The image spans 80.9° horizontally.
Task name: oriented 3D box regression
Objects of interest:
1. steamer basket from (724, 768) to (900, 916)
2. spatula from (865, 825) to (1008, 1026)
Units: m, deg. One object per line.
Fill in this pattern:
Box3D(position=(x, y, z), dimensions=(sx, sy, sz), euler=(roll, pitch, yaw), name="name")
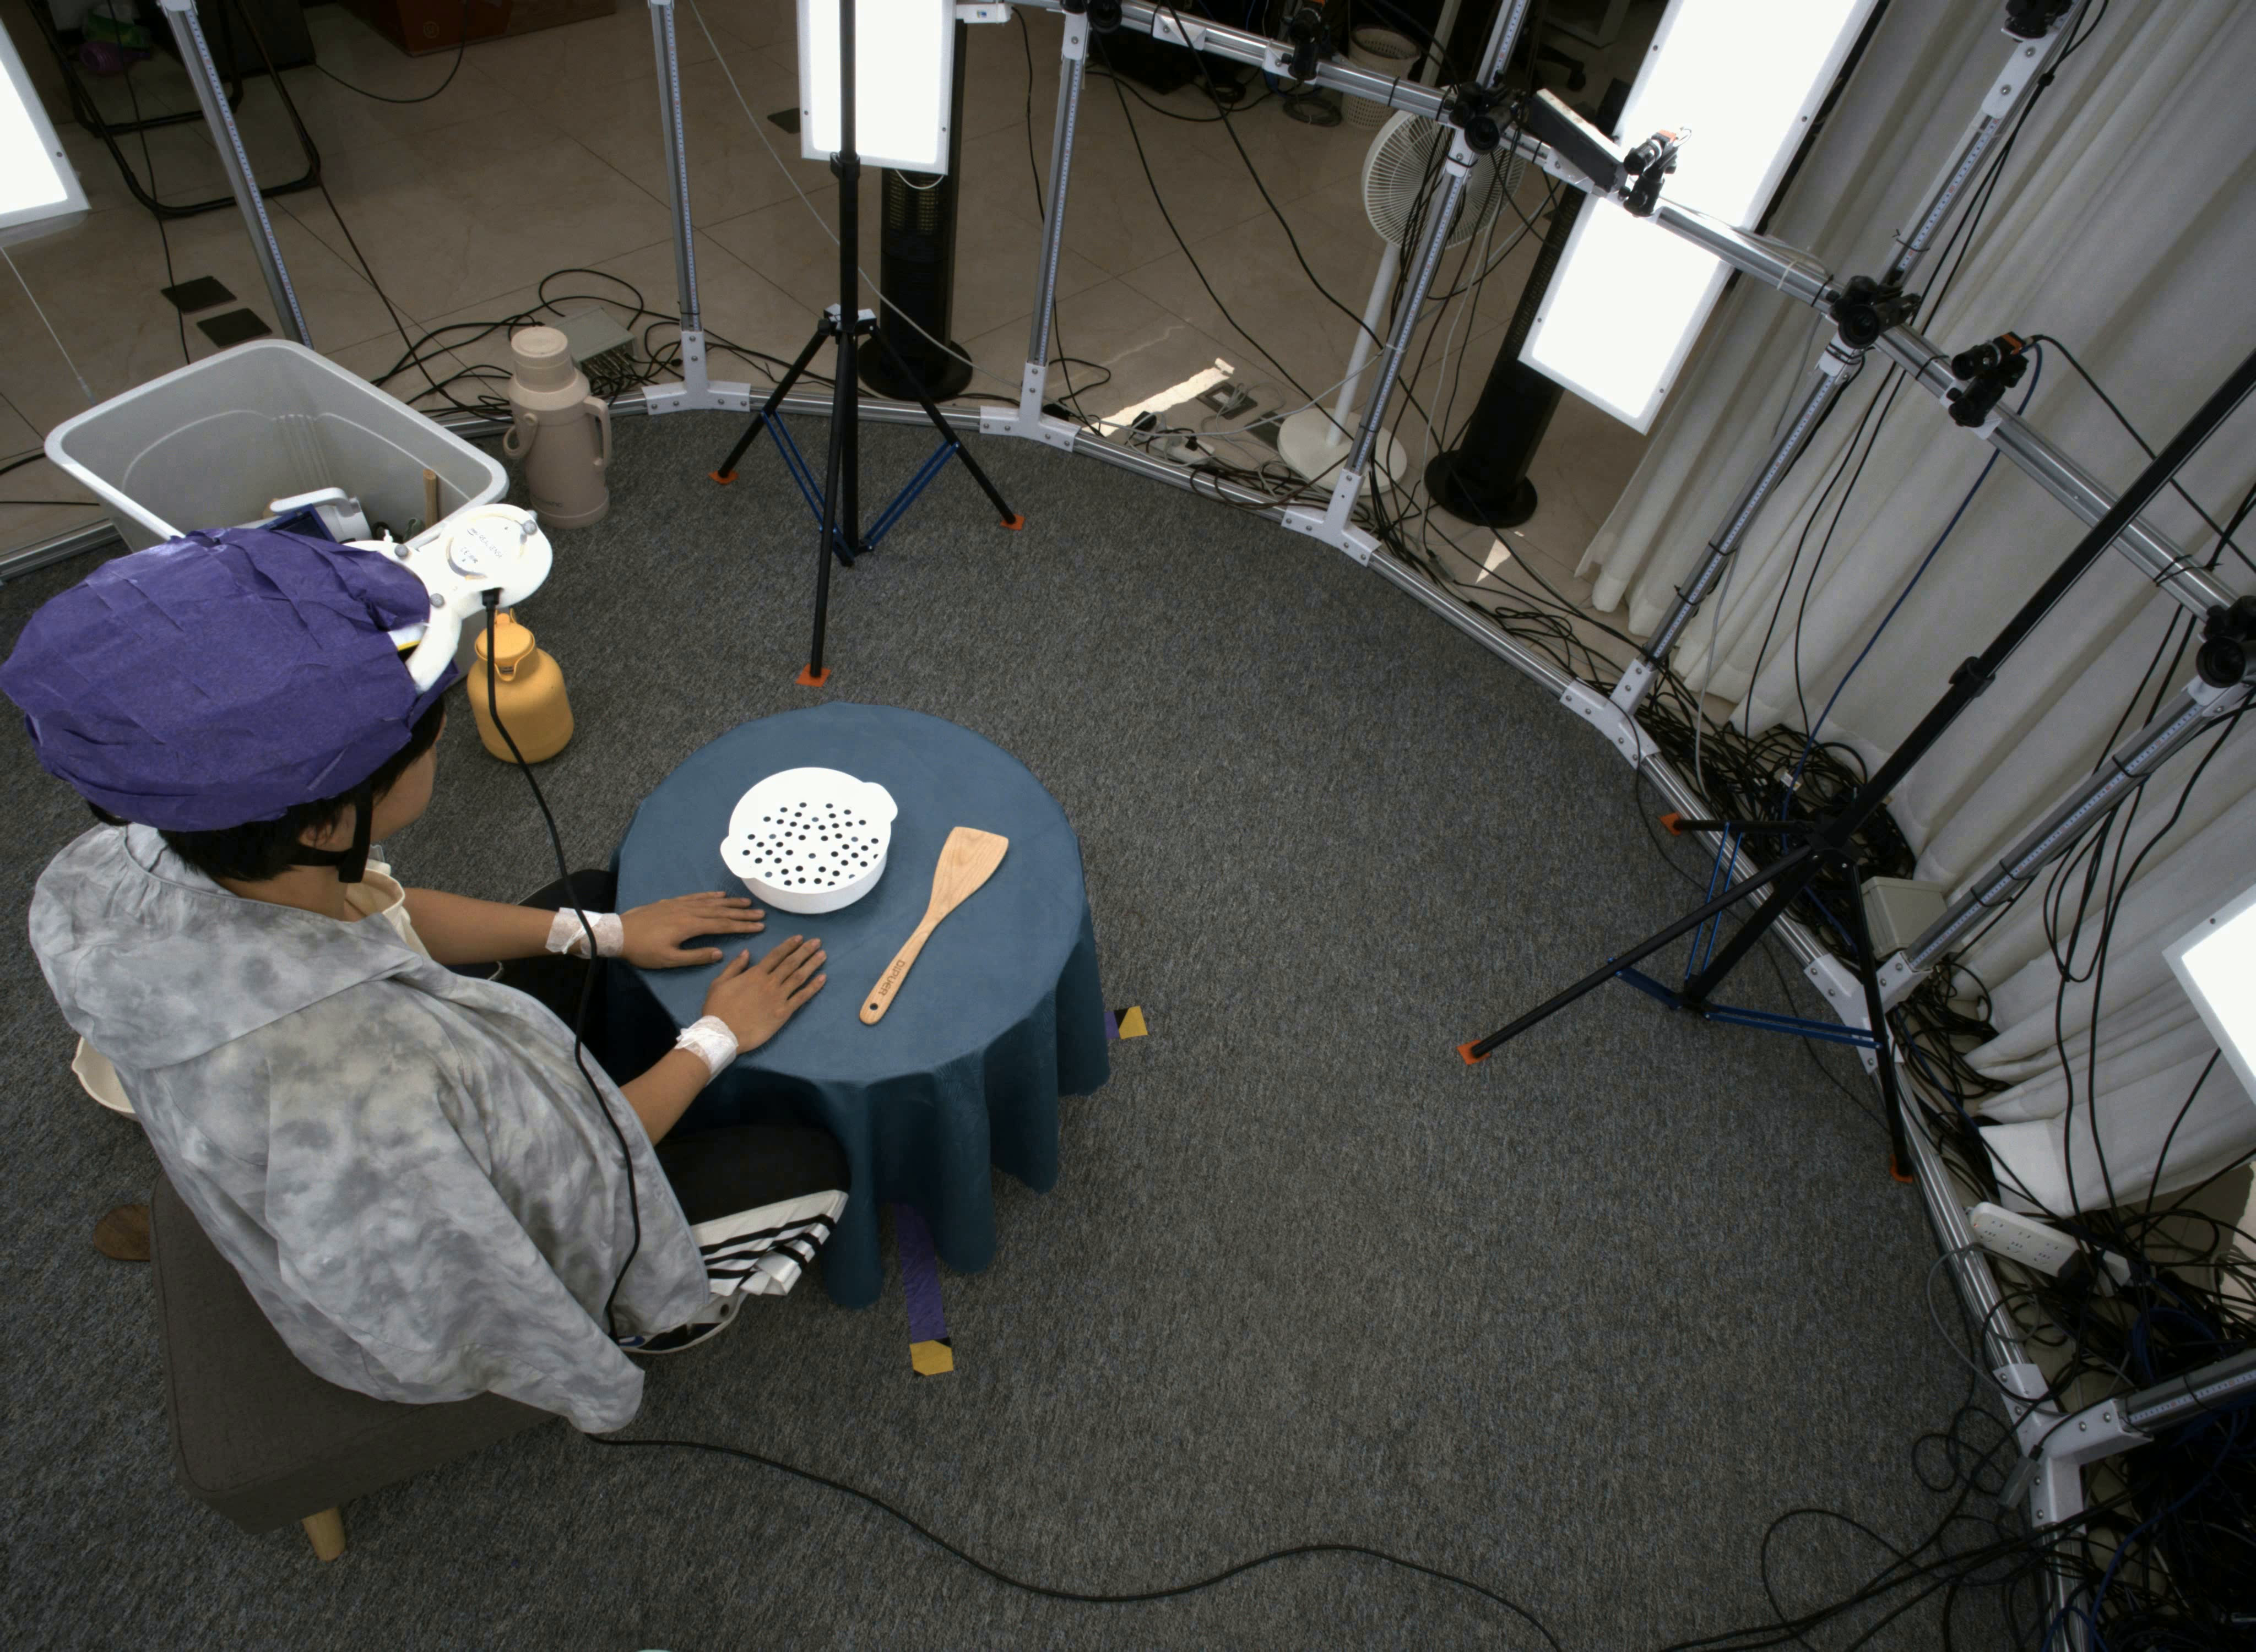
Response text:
Box3D(position=(-0.403, 0.020, 1.675), dimensions=(0.231, 0.071, 0.196), euler=(-25, 61, -27), name="steamer basket")
Box3D(position=(-0.253, 0.120, 1.669), dimensions=(0.079, 0.017, 0.325), euler=(23, 53, 5), name="spatula")
